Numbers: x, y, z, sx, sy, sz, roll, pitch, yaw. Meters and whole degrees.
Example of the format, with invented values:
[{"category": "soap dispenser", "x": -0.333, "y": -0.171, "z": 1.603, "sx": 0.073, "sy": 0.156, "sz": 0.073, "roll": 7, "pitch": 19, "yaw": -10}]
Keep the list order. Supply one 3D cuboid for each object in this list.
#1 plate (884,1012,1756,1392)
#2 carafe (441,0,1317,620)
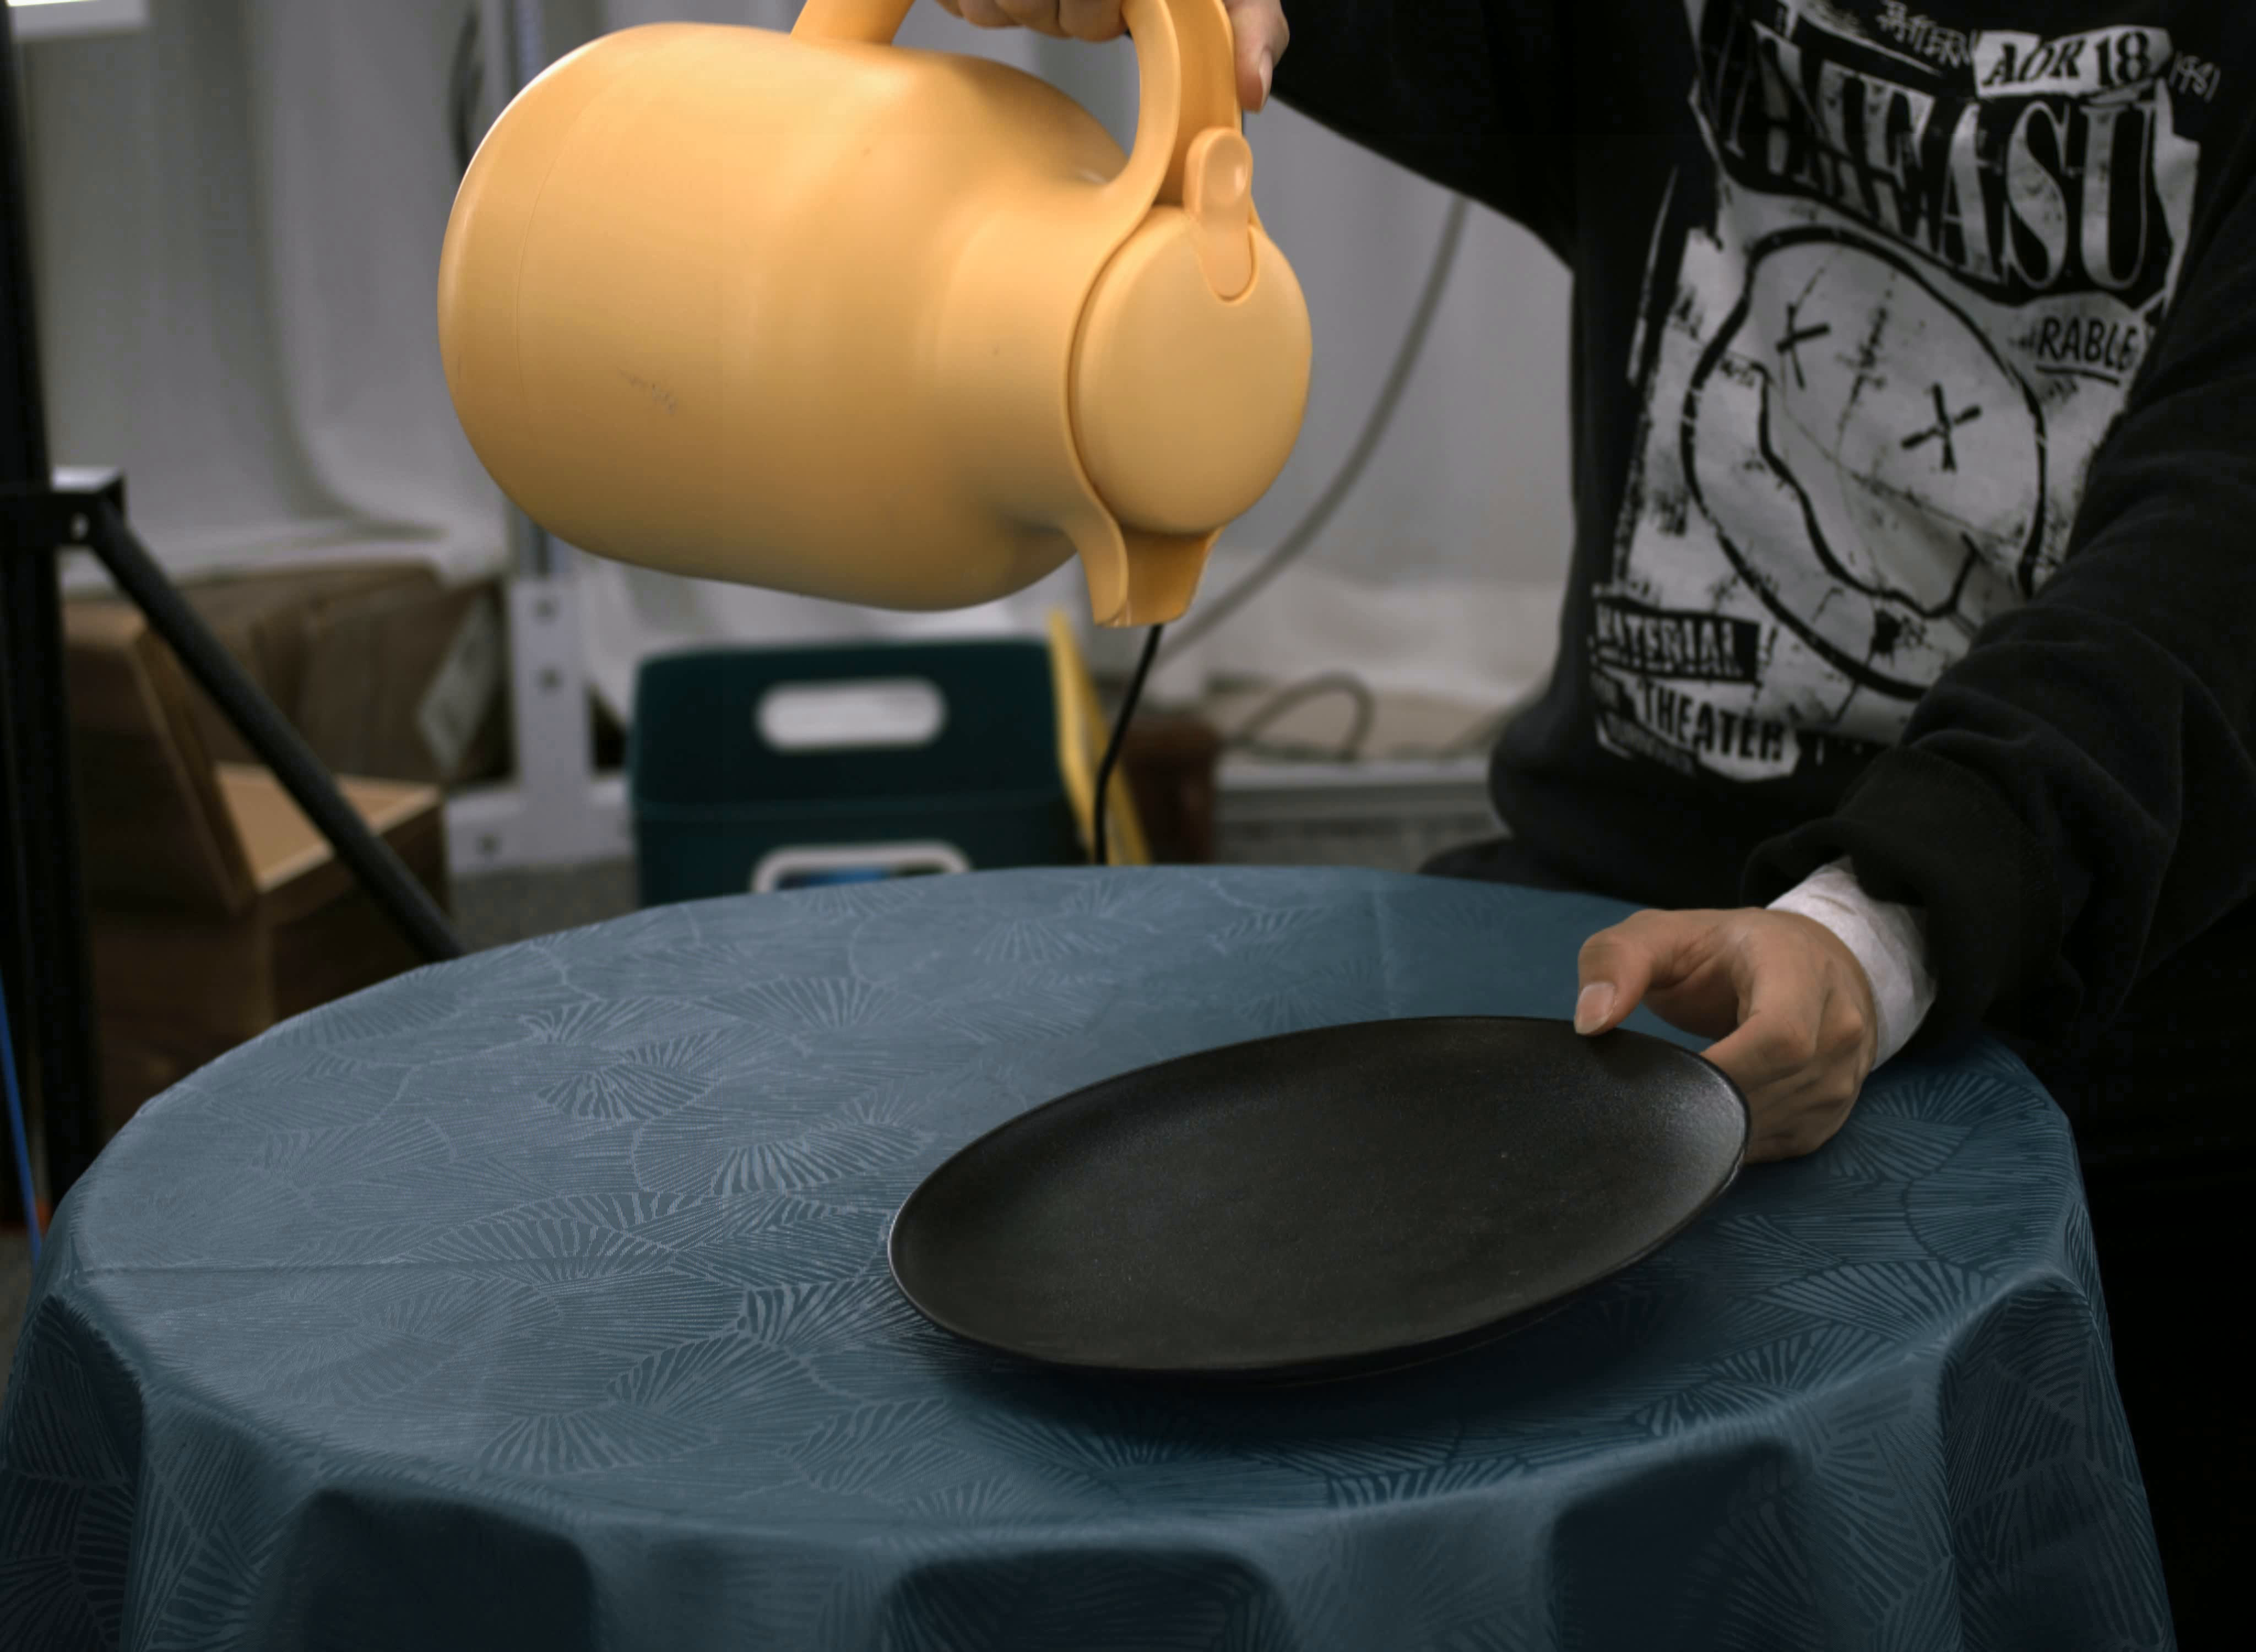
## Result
[{"category": "plate", "x": 0.054, "y": 0.107, "z": 1.463, "sx": 0.243, "sy": 0.023, "sz": 0.246, "roll": -10, "pitch": 18, "yaw": 2}, {"category": "carafe", "x": -0.061, "y": -0.167, "z": 1.528, "sx": 0.266, "sy": 0.203, "sz": 0.159, "roll": 14, "pitch": 6, "yaw": 42}]
